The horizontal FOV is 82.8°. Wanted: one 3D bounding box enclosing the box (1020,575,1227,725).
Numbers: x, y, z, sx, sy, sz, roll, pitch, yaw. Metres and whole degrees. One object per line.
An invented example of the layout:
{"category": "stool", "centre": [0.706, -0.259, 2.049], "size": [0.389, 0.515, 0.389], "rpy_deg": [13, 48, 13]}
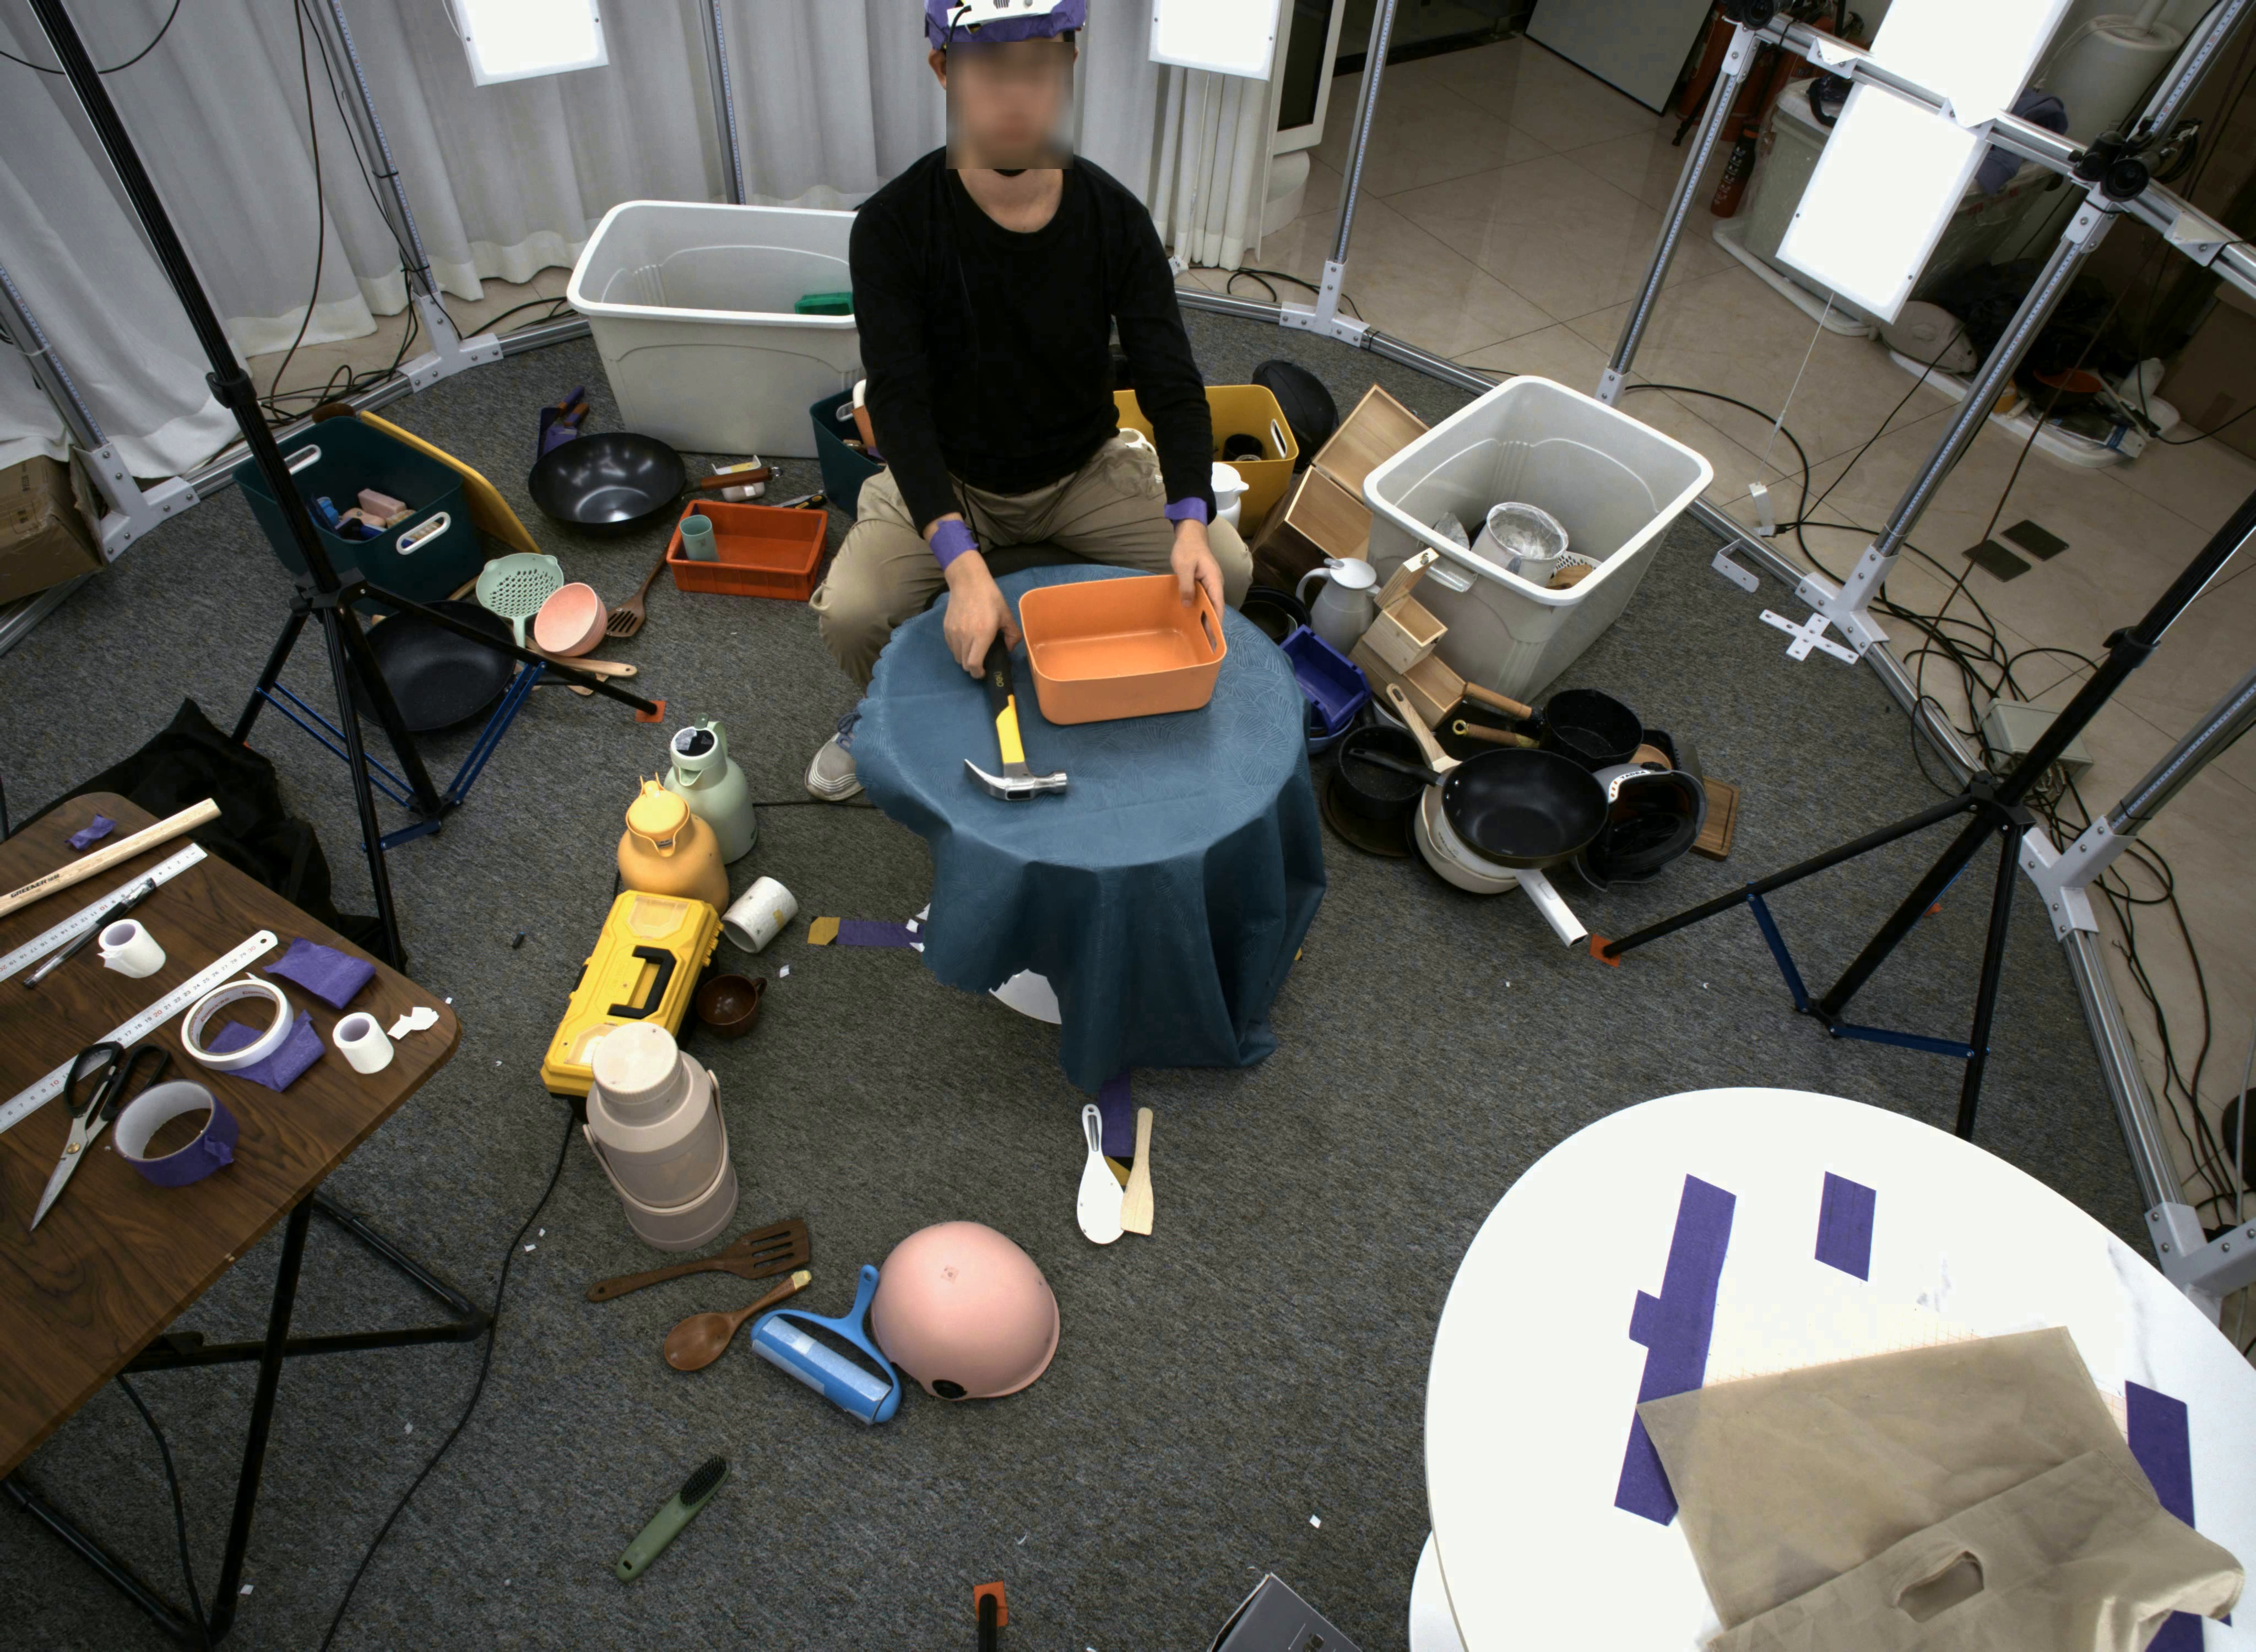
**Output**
{"category": "box", "centre": [-0.011, -0.248, 1.817], "size": [0.273, 0.100, 0.204], "rpy_deg": [-8, 50, -11]}

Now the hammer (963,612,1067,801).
{"category": "hammer", "centre": [-0.171, -0.174, 1.782], "size": [0.131, 0.031, 0.347], "rpy_deg": [-5, 52, -8]}
